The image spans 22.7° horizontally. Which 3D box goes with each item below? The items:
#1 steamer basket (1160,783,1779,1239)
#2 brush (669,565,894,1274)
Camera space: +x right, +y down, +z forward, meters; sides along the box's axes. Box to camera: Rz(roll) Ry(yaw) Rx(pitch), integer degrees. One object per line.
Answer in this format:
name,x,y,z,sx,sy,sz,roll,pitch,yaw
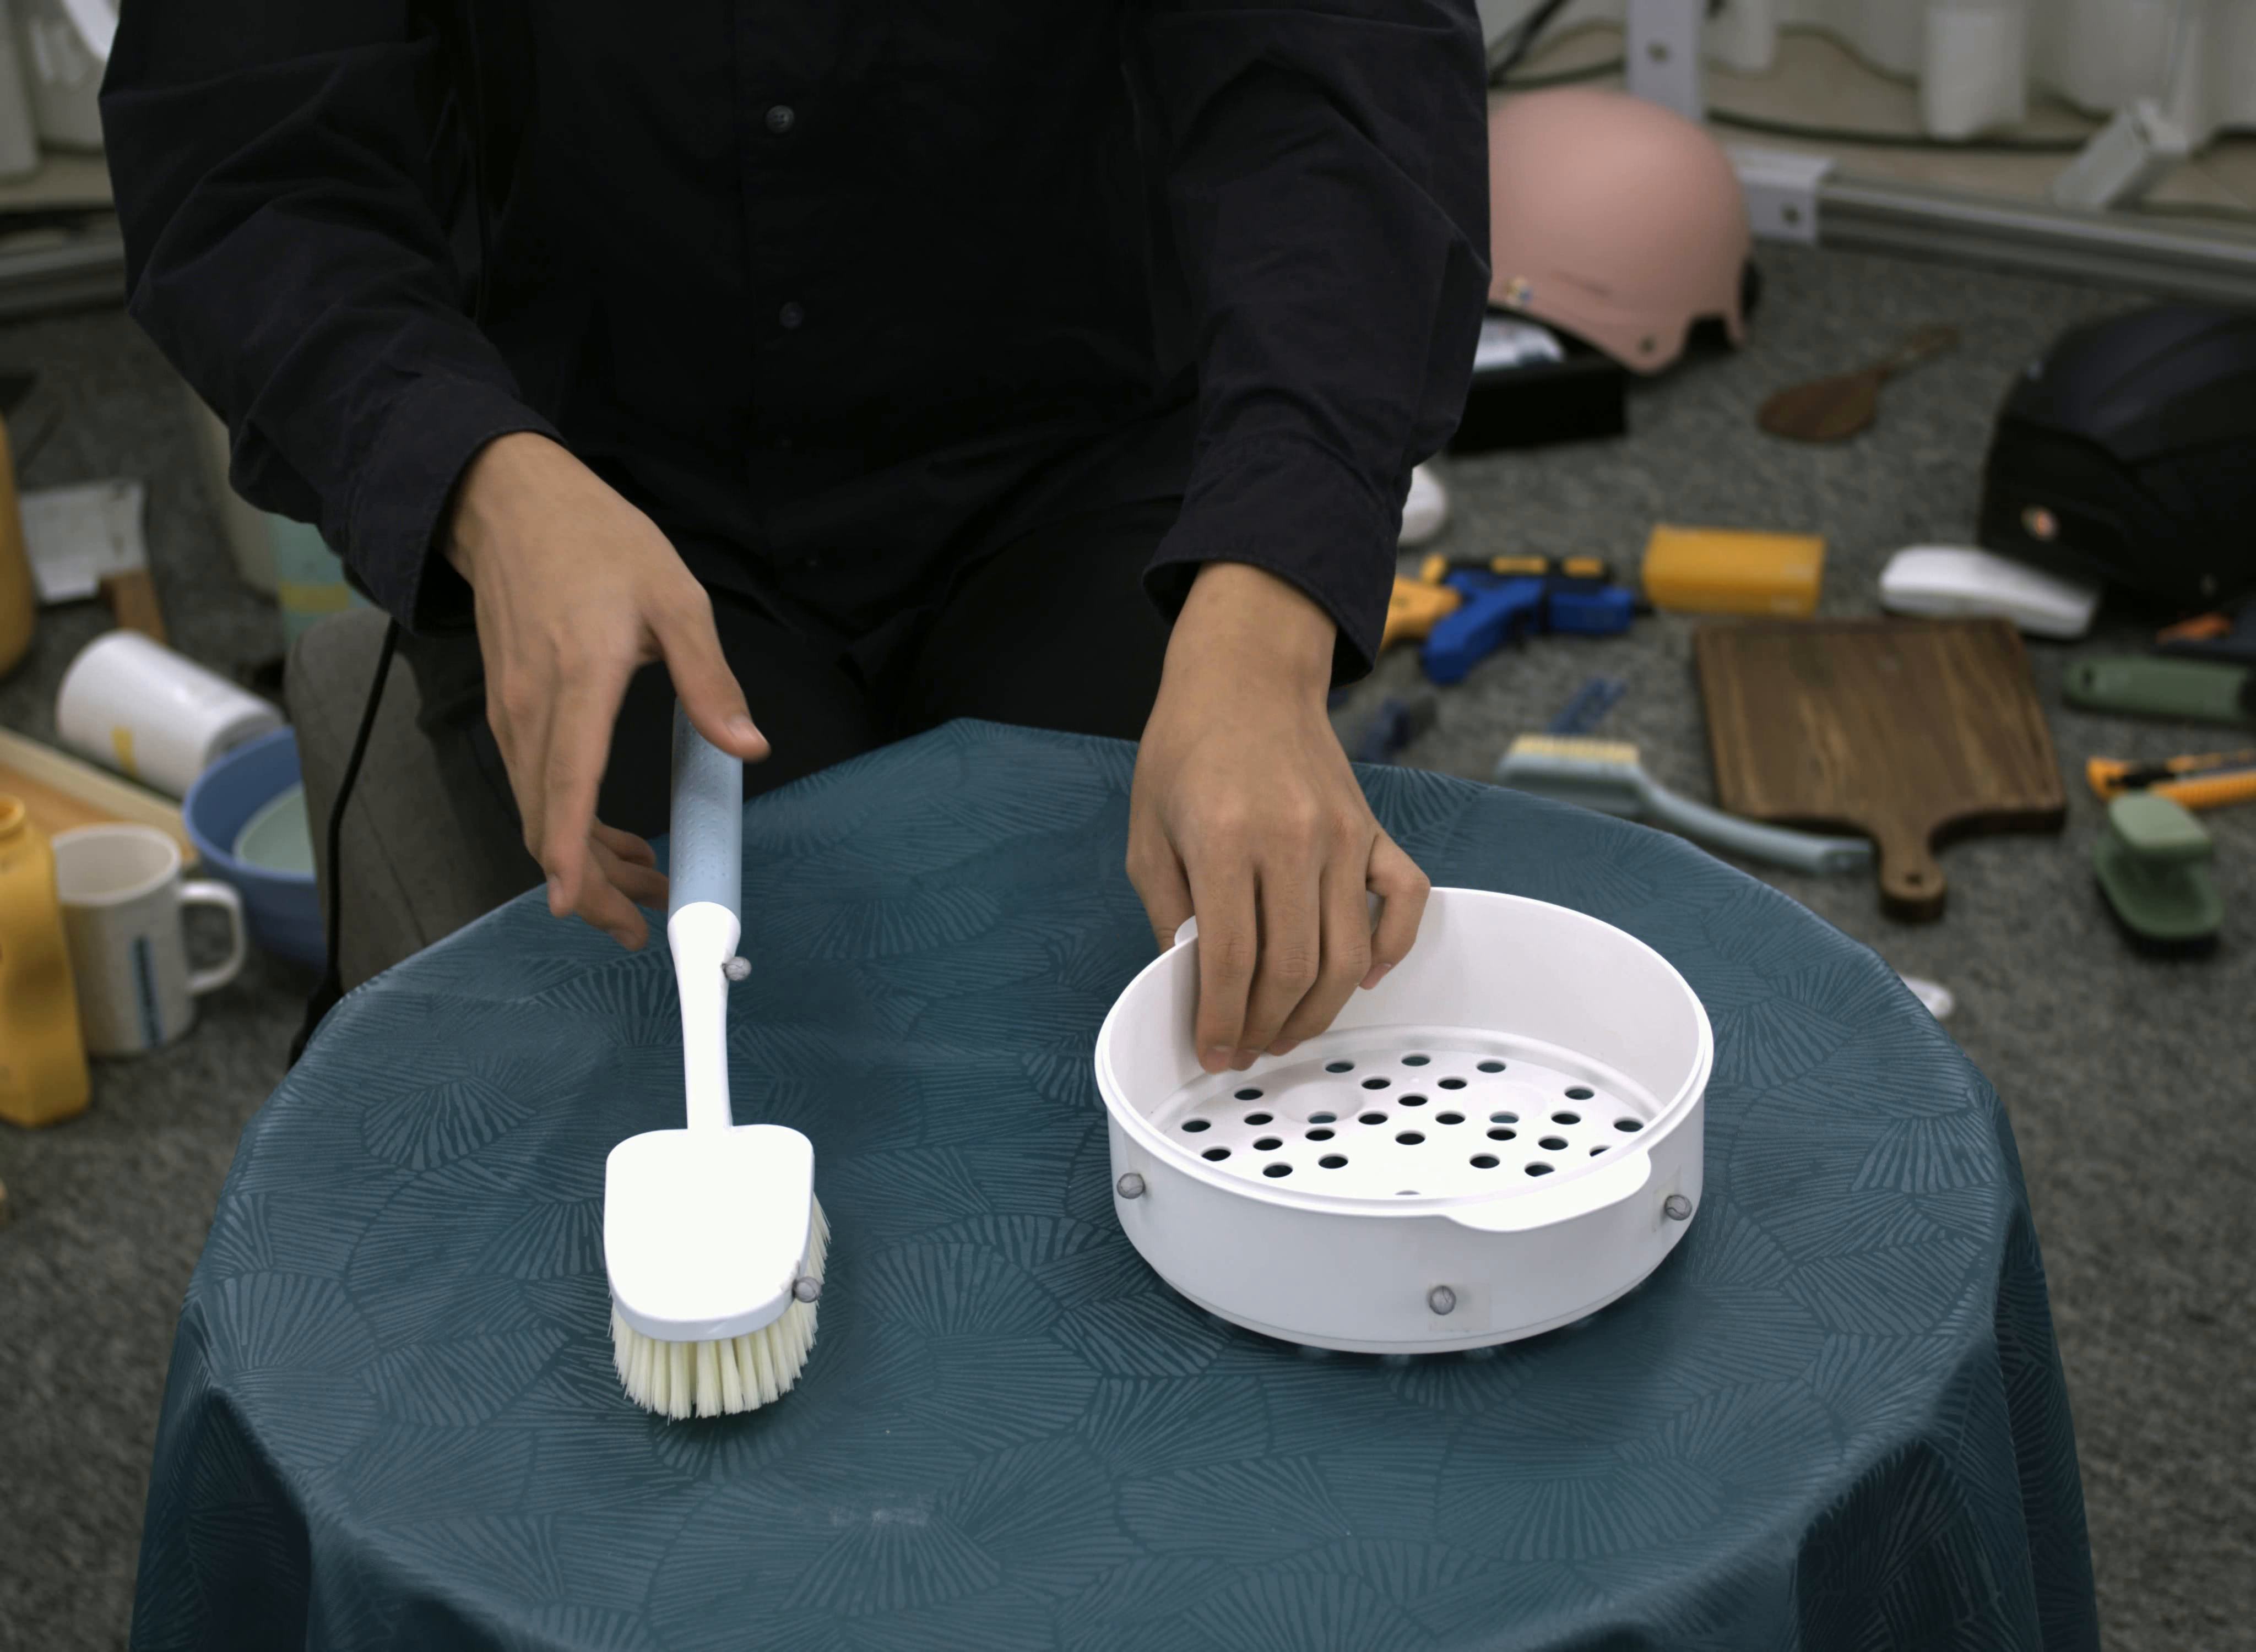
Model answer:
steamer basket,0.112,0.061,1.840,0.203,0.068,0.232,-14,30,-22
brush,-0.113,0.039,1.885,0.083,0.083,0.331,27,33,-22
